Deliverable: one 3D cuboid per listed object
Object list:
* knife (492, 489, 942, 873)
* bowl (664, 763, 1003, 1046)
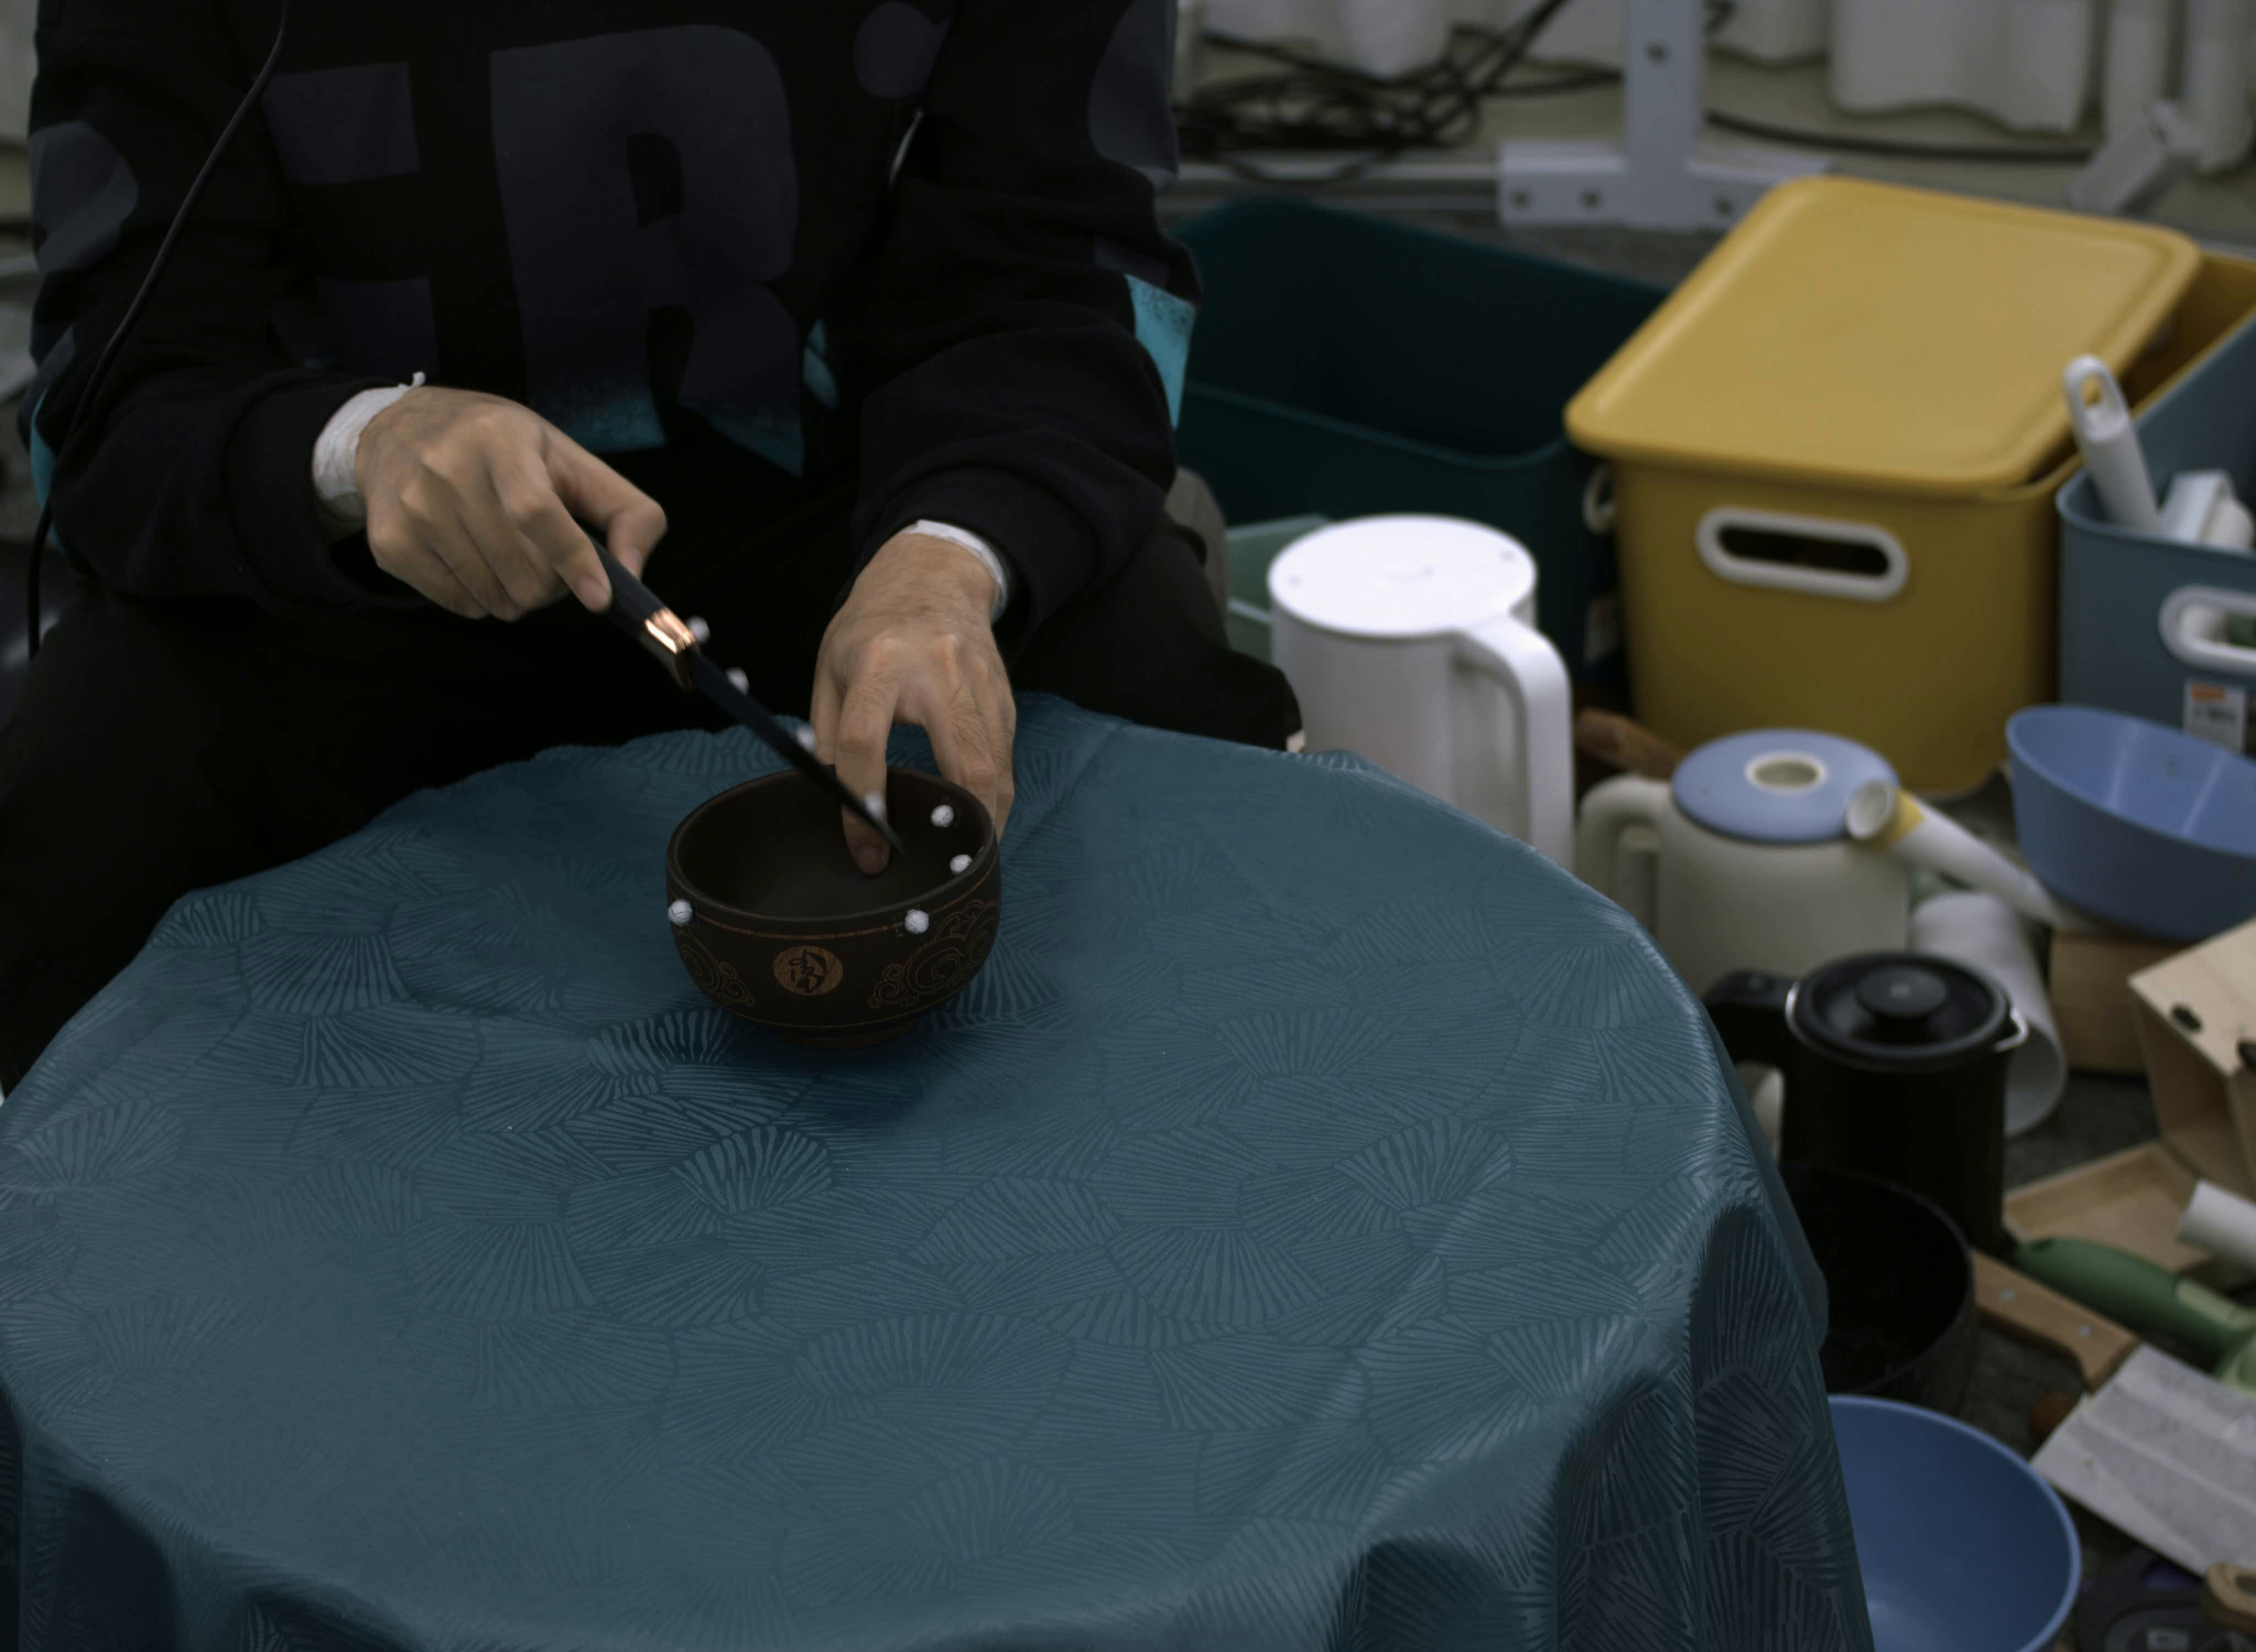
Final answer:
[{"bbox_3d":[-0.146,-0.051,1.971,0.226,0.017,0.026,41,23,25],"label":"knife"},{"bbox_3d":[-0.102,0.034,1.961,0.117,0.069,0.120,-1,25,1],"label":"bowl"}]
